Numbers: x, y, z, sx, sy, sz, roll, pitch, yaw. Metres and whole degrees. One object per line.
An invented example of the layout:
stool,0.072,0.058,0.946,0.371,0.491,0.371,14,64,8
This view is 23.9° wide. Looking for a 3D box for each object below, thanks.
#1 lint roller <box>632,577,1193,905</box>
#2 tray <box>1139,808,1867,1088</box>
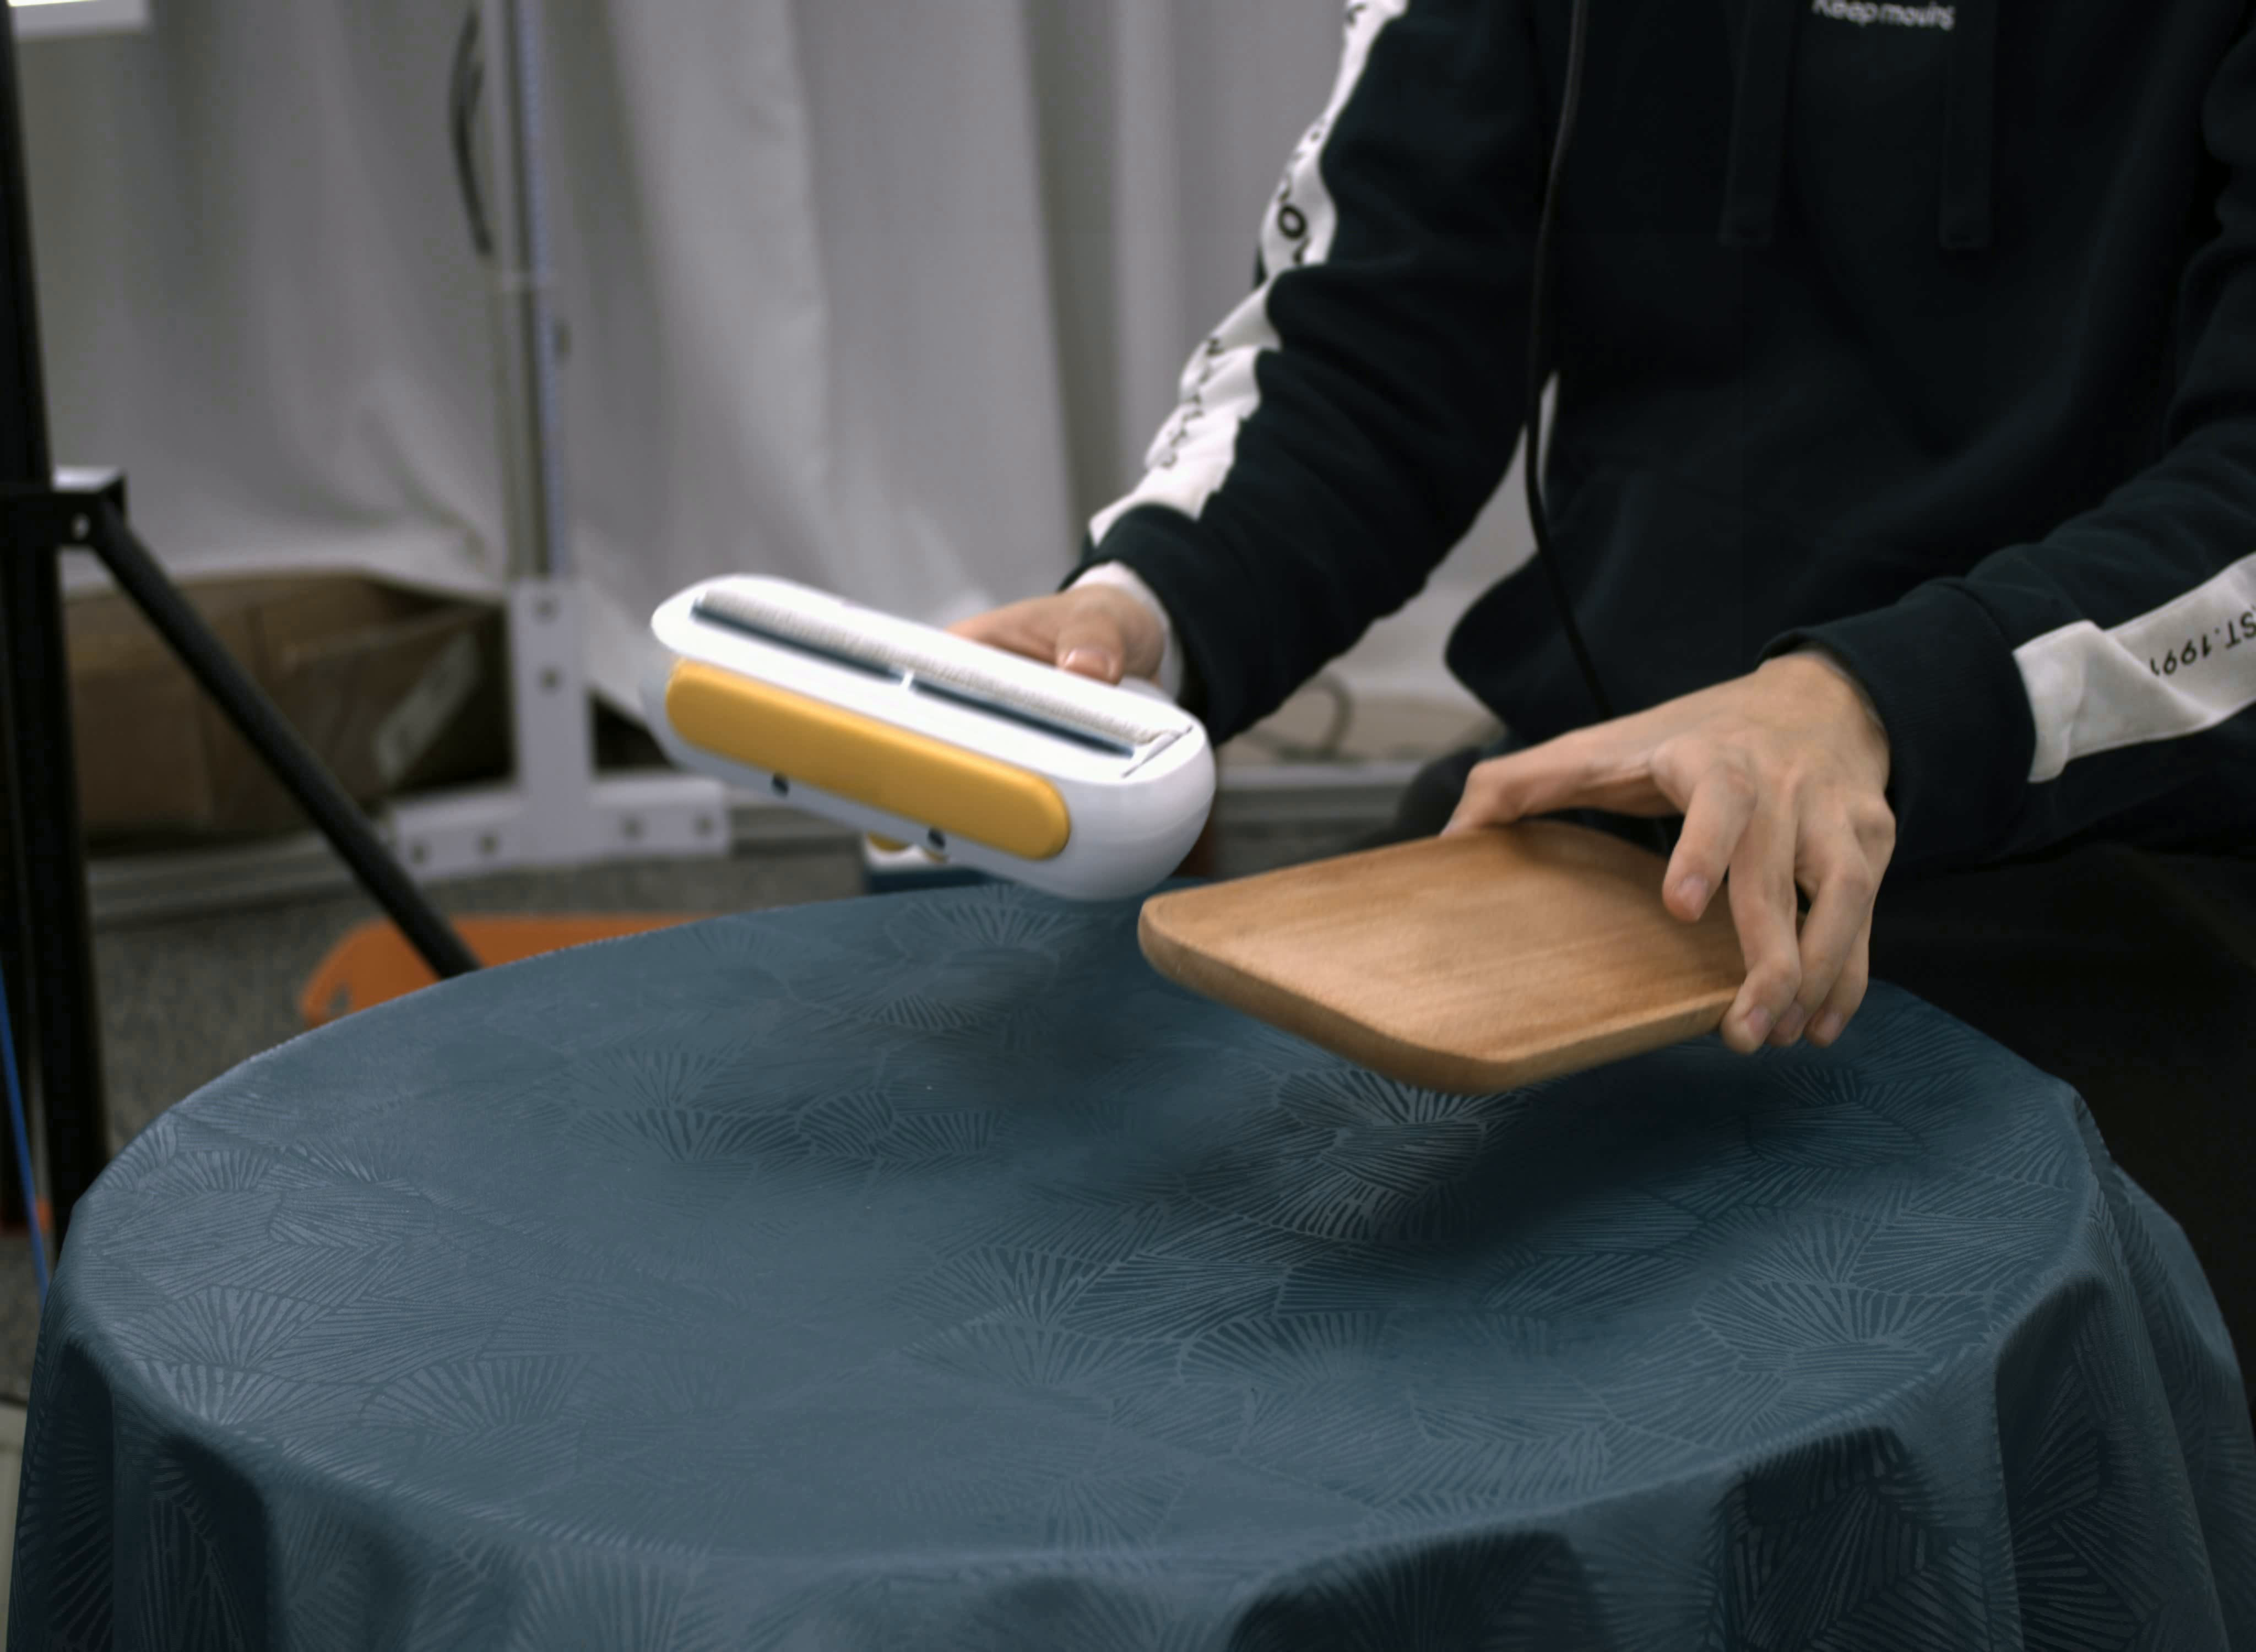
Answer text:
lint roller,-0.039,-0.021,1.696,0.197,0.074,0.188,19,9,33
tray,0.113,0.034,1.556,0.133,0.023,0.245,27,20,32
